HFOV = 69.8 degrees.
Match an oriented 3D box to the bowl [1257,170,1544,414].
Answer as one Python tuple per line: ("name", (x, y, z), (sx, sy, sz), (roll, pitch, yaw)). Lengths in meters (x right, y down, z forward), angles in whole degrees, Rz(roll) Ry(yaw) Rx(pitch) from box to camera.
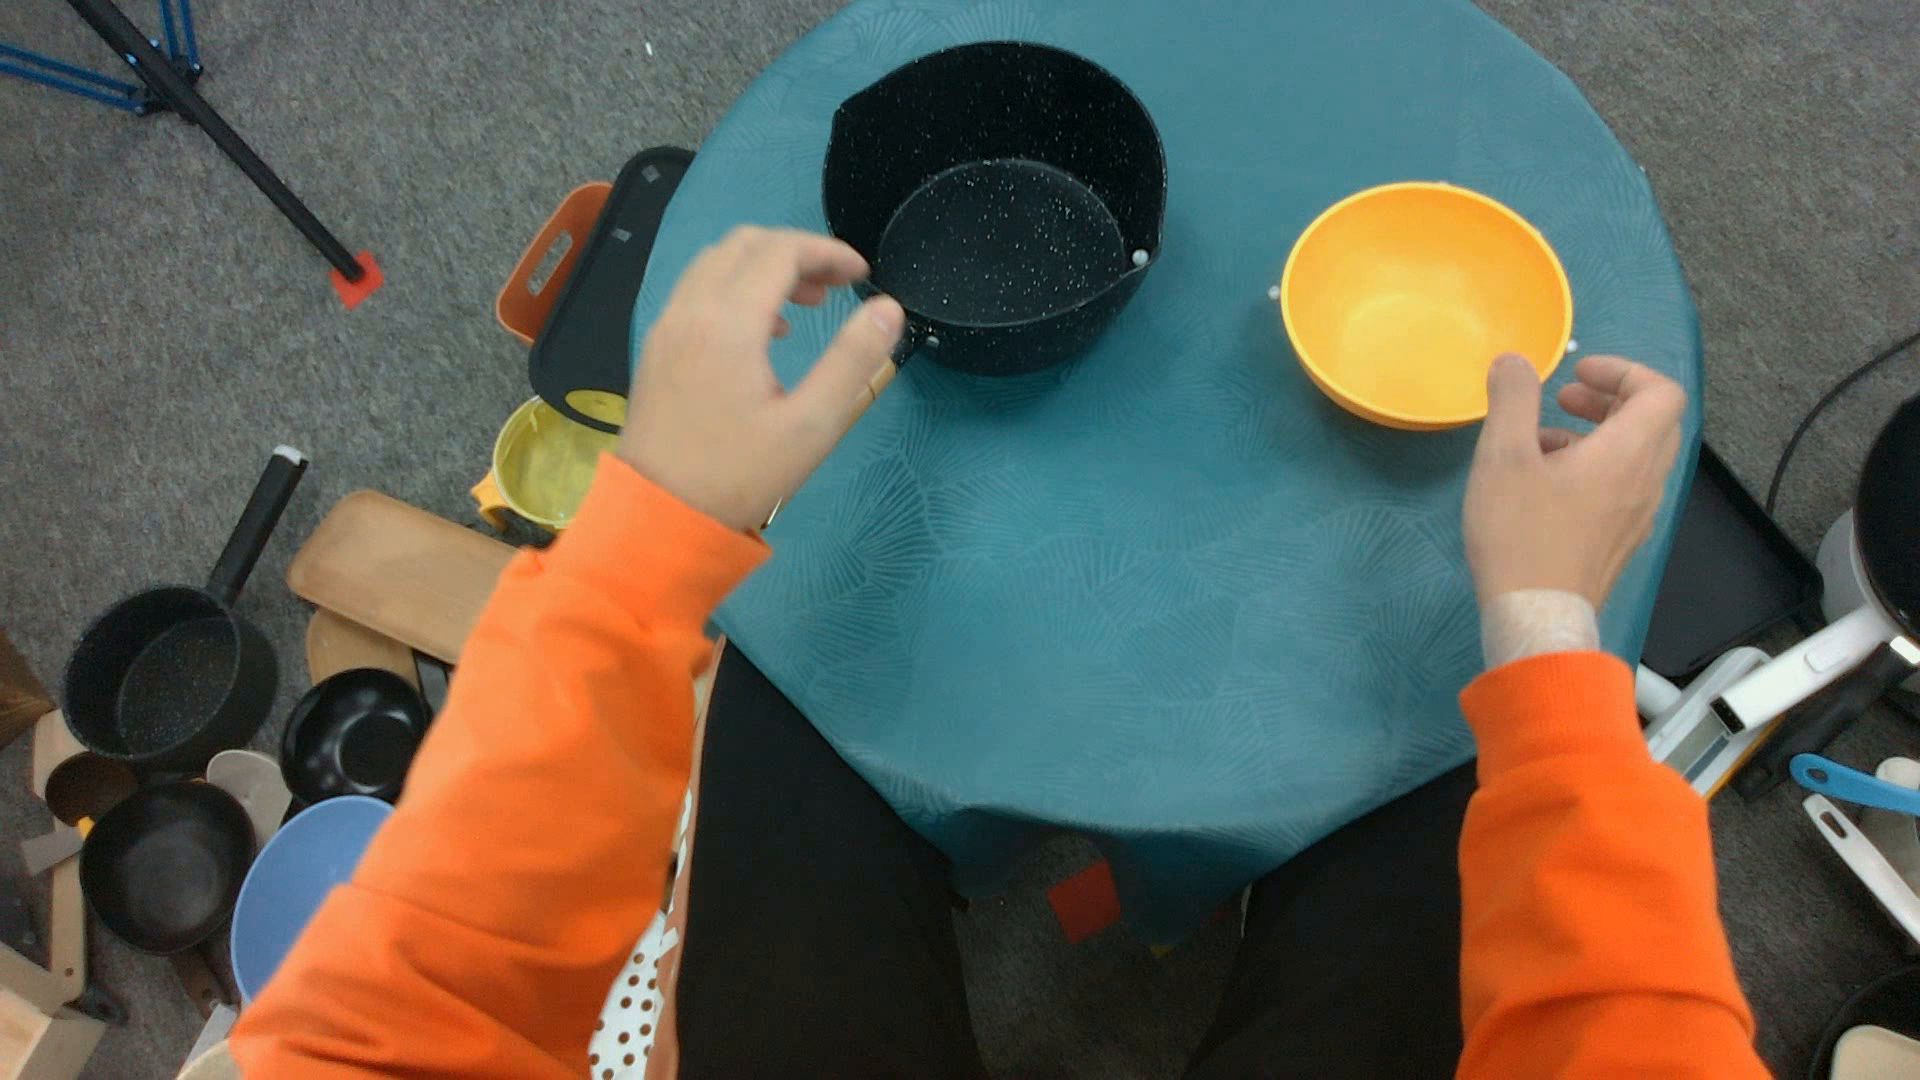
("bowl", (0.231, -0.123, 0.742), (0.145, 0.060, 0.146), (-2, 68, 4))

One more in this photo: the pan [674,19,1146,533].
("pan", (-0.033, -0.127, 0.733), (0.207, 0.108, 0.344), (28, 71, 12))
